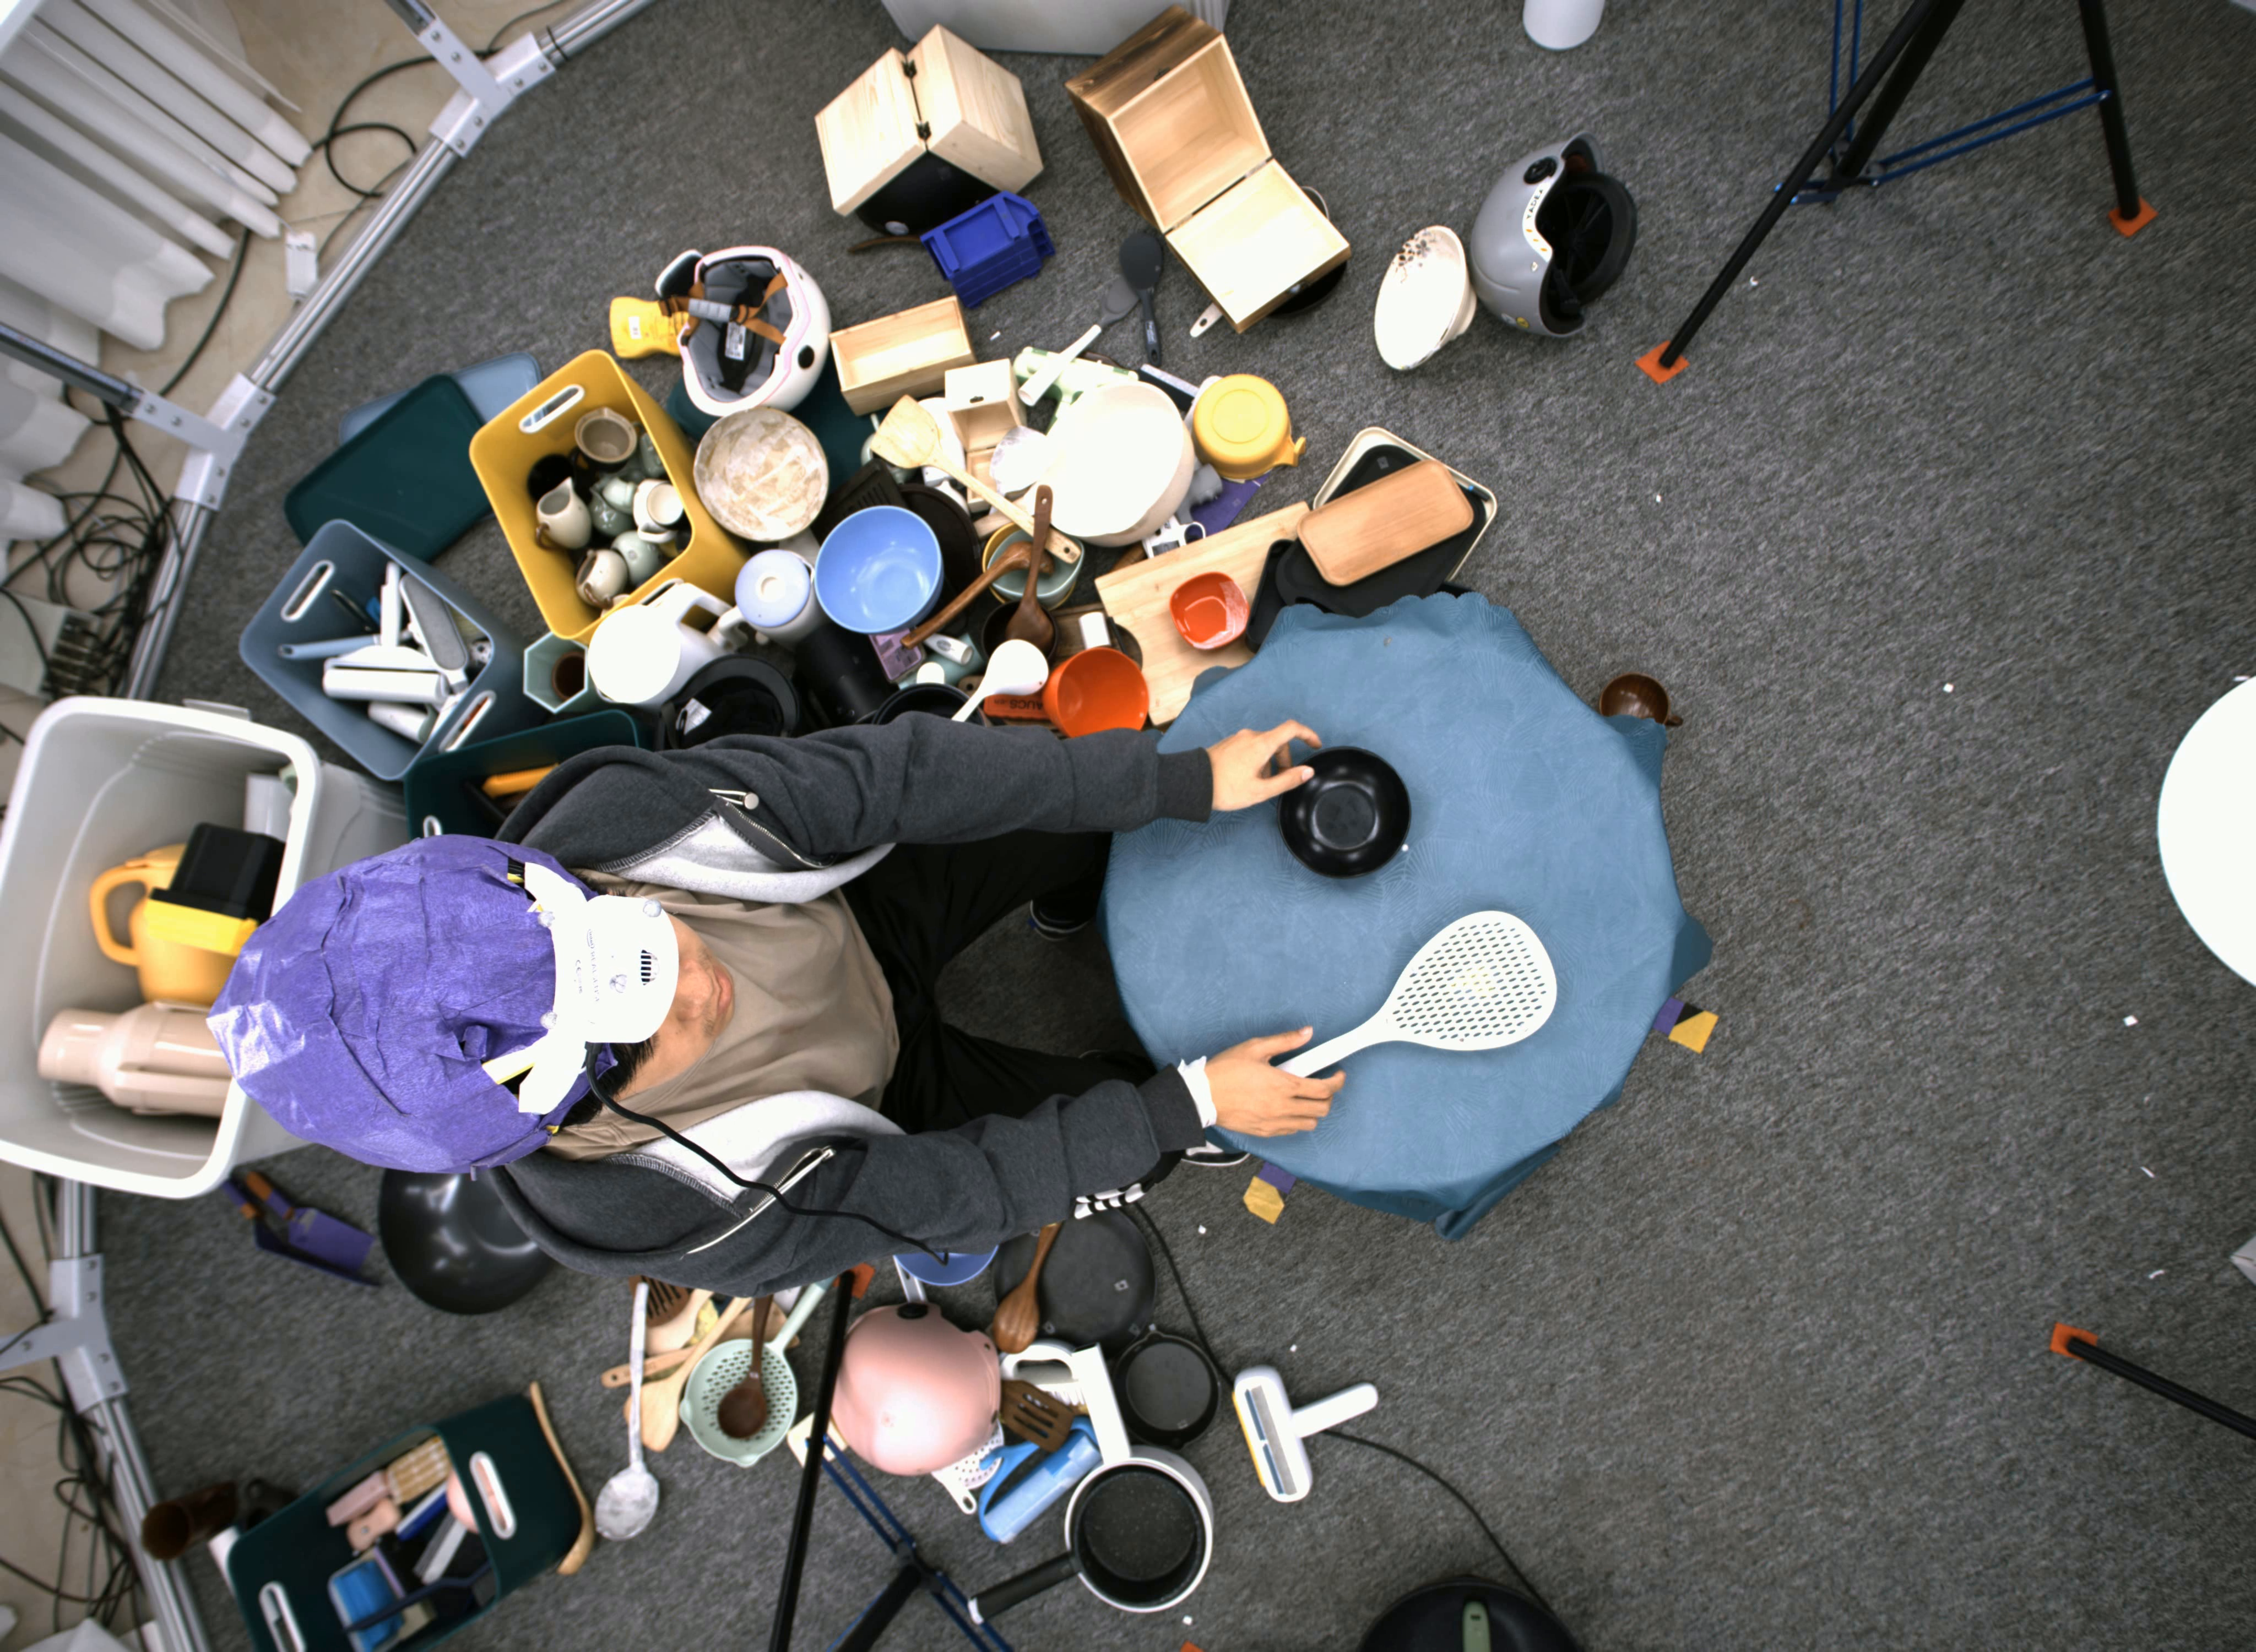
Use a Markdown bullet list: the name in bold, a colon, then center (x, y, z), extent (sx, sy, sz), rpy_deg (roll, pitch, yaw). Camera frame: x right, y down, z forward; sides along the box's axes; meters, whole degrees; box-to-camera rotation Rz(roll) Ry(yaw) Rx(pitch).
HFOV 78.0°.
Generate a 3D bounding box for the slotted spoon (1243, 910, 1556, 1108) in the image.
- **slotted spoon**: center (0.270, 0.205, 1.432), extent (0.350, 0.050, 0.136), rpy_deg (-28, 86, 8)

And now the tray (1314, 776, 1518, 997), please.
- **tray**: center (0.414, 0.094, 1.987), extent (0.191, 0.027, 0.300), rpy_deg (27, 91, 11)
